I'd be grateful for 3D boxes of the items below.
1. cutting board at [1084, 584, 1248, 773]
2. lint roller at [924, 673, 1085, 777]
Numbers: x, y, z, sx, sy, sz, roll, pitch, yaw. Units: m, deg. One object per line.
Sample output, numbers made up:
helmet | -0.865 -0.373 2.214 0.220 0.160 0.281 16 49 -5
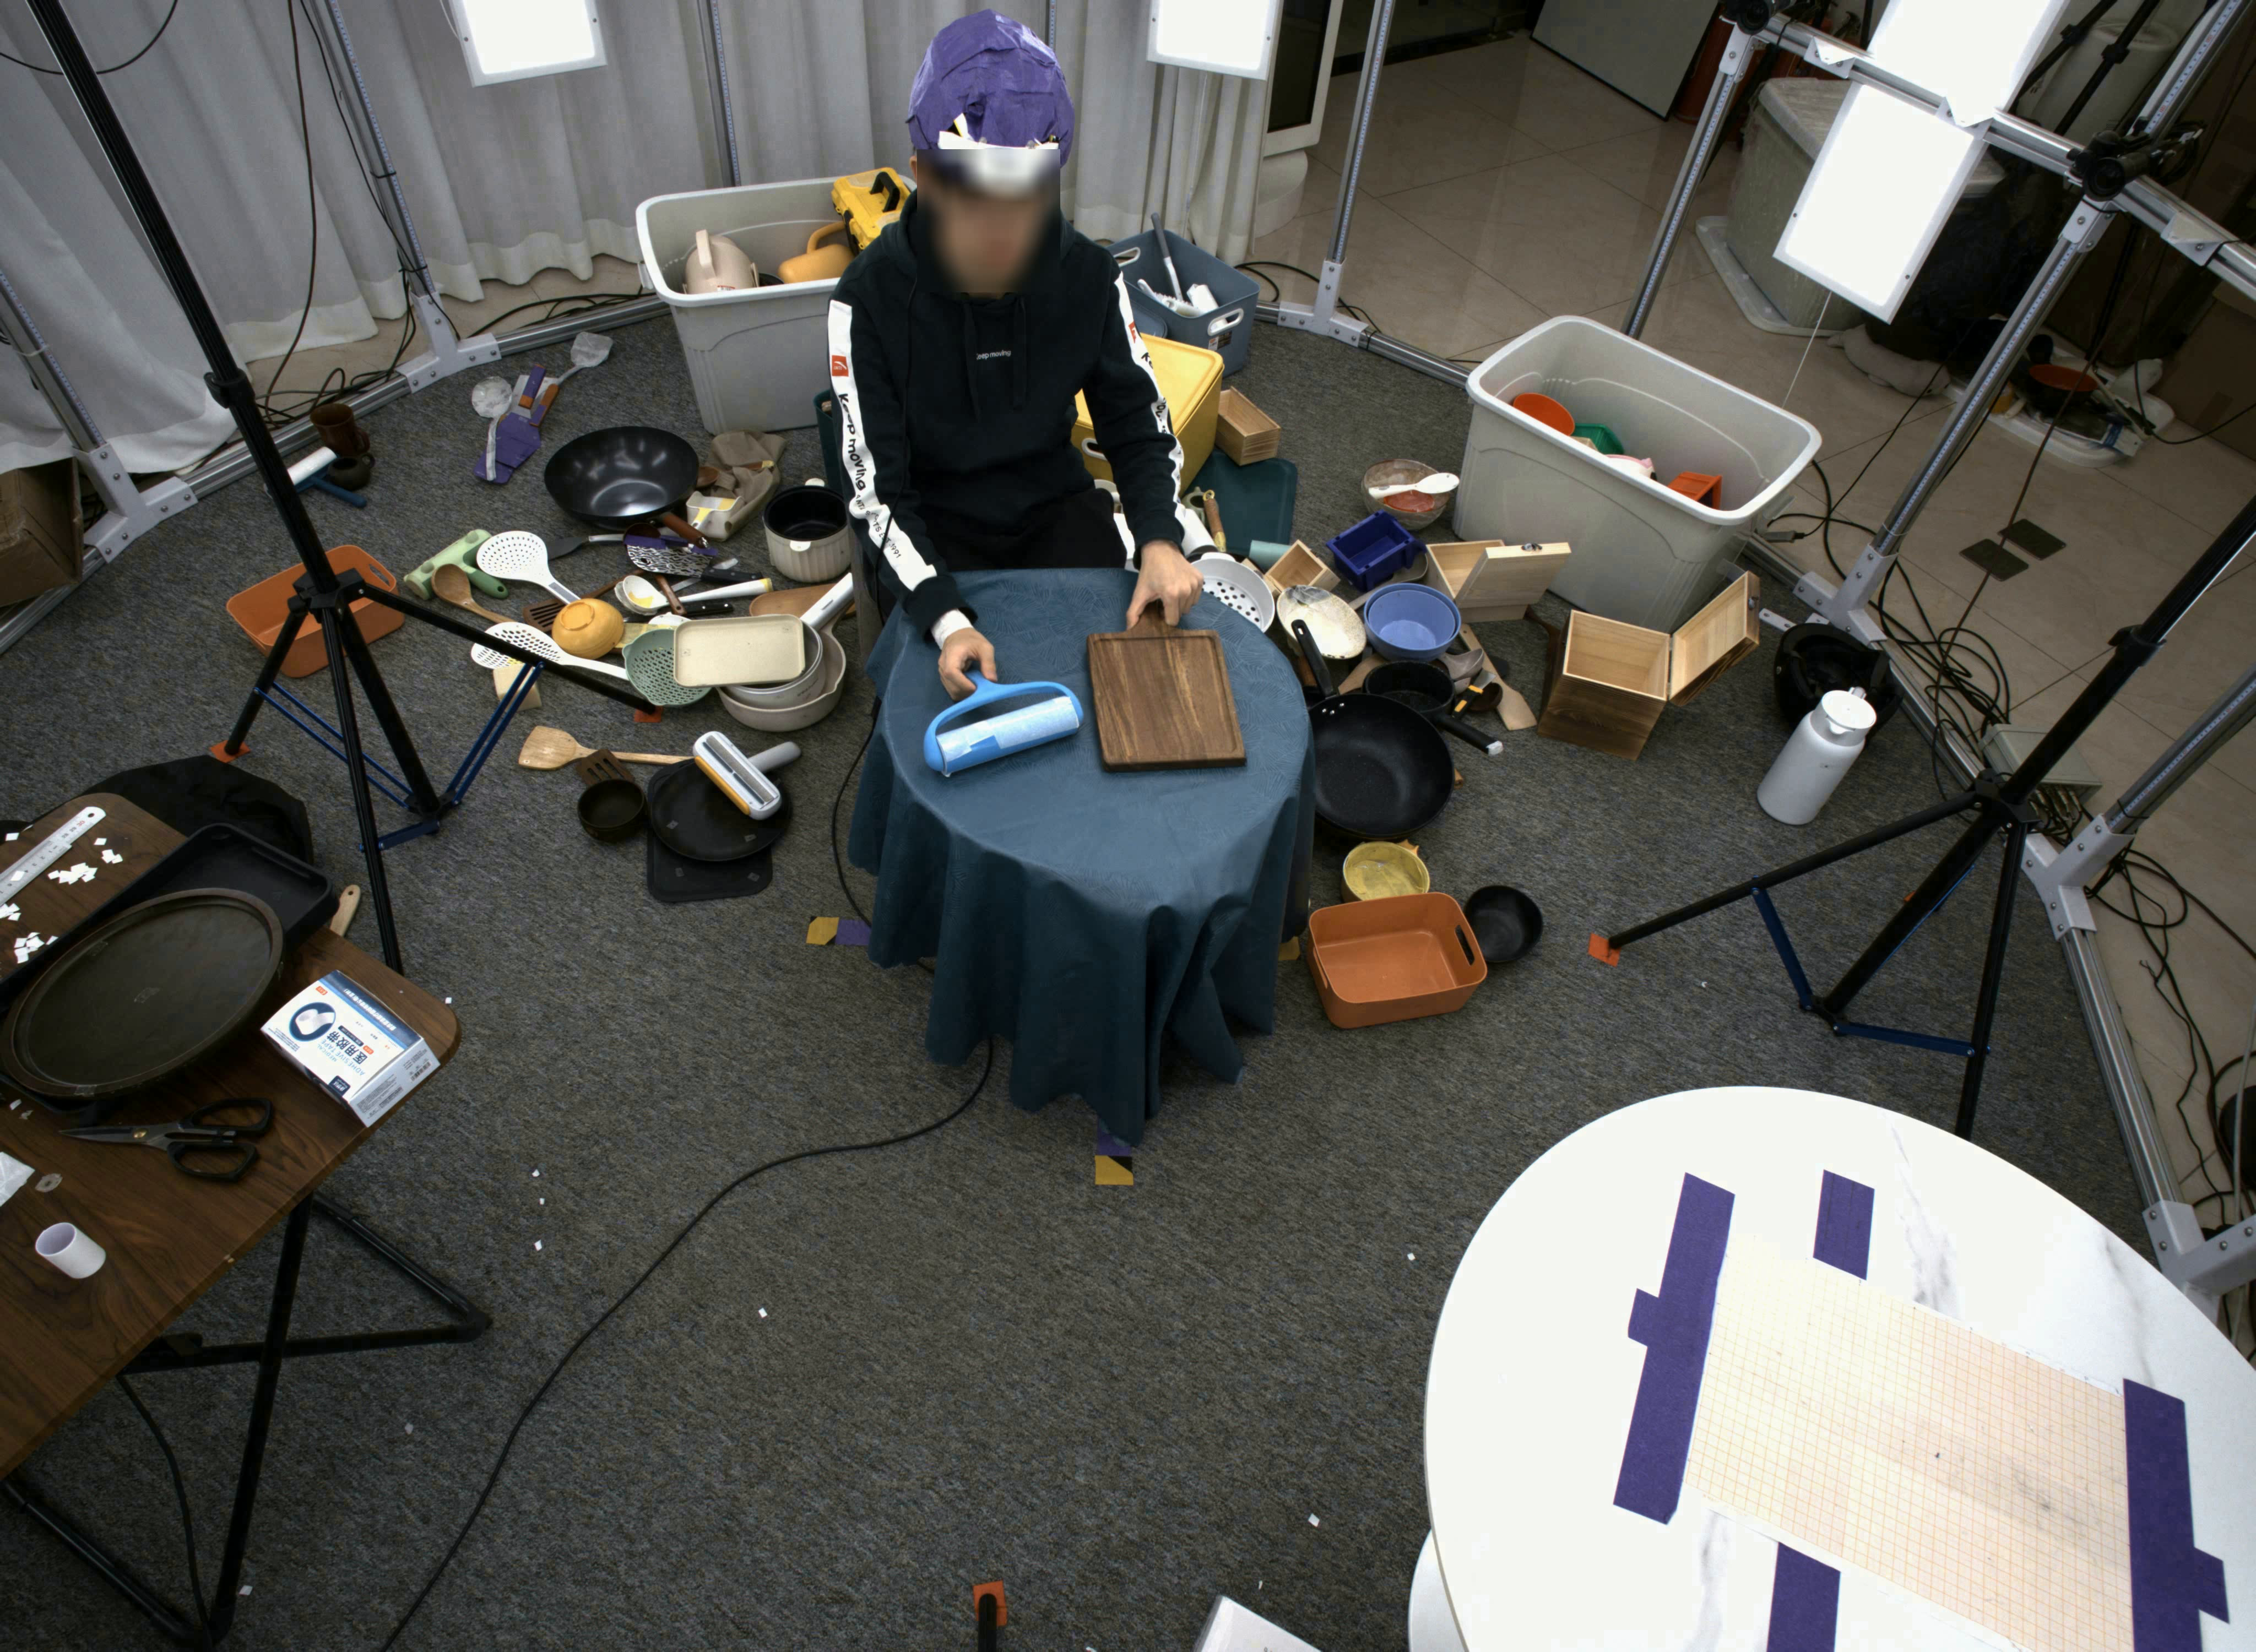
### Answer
cutting board | 0.044 -0.221 1.841 0.201 0.022 0.361 -3 51 -7
lint roller | -0.192 -0.164 1.761 0.229 0.066 0.184 -23 55 -20
